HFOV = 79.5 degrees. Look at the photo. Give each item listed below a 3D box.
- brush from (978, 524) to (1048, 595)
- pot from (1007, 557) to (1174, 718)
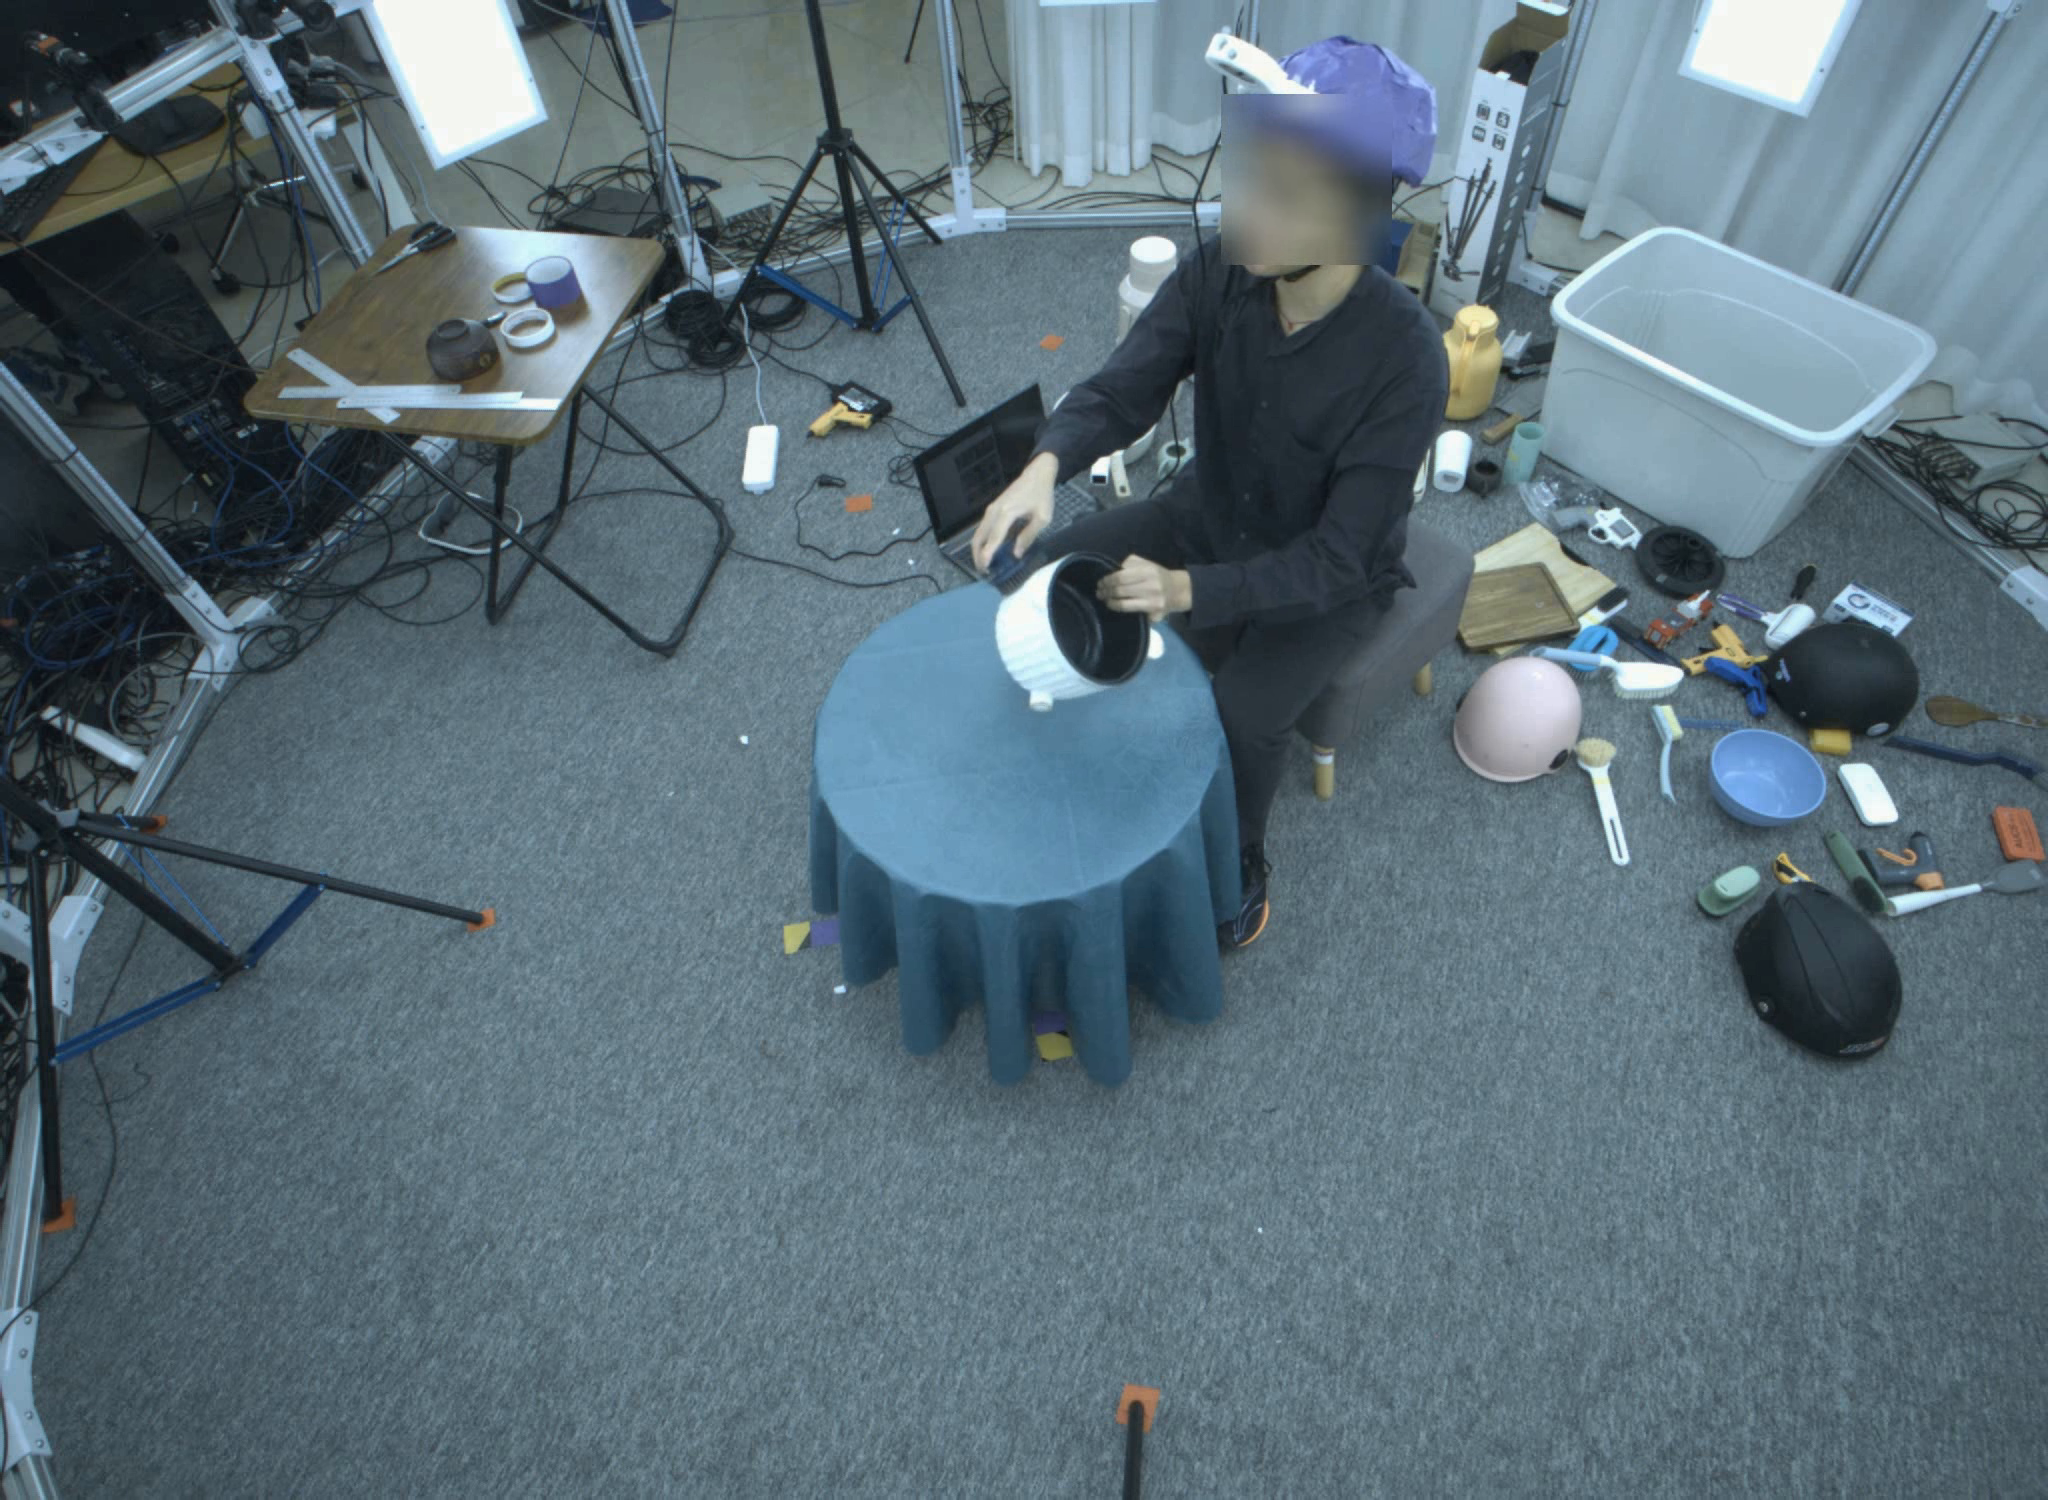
[{"bbox_3d":[-0.013,-0.254,1.649,0.062,0.067,0.122,49,38,-12],"label":"brush"},{"bbox_3d":[0.073,-0.145,1.639,0.246,0.140,0.189,17,67,-37],"label":"pot"}]
